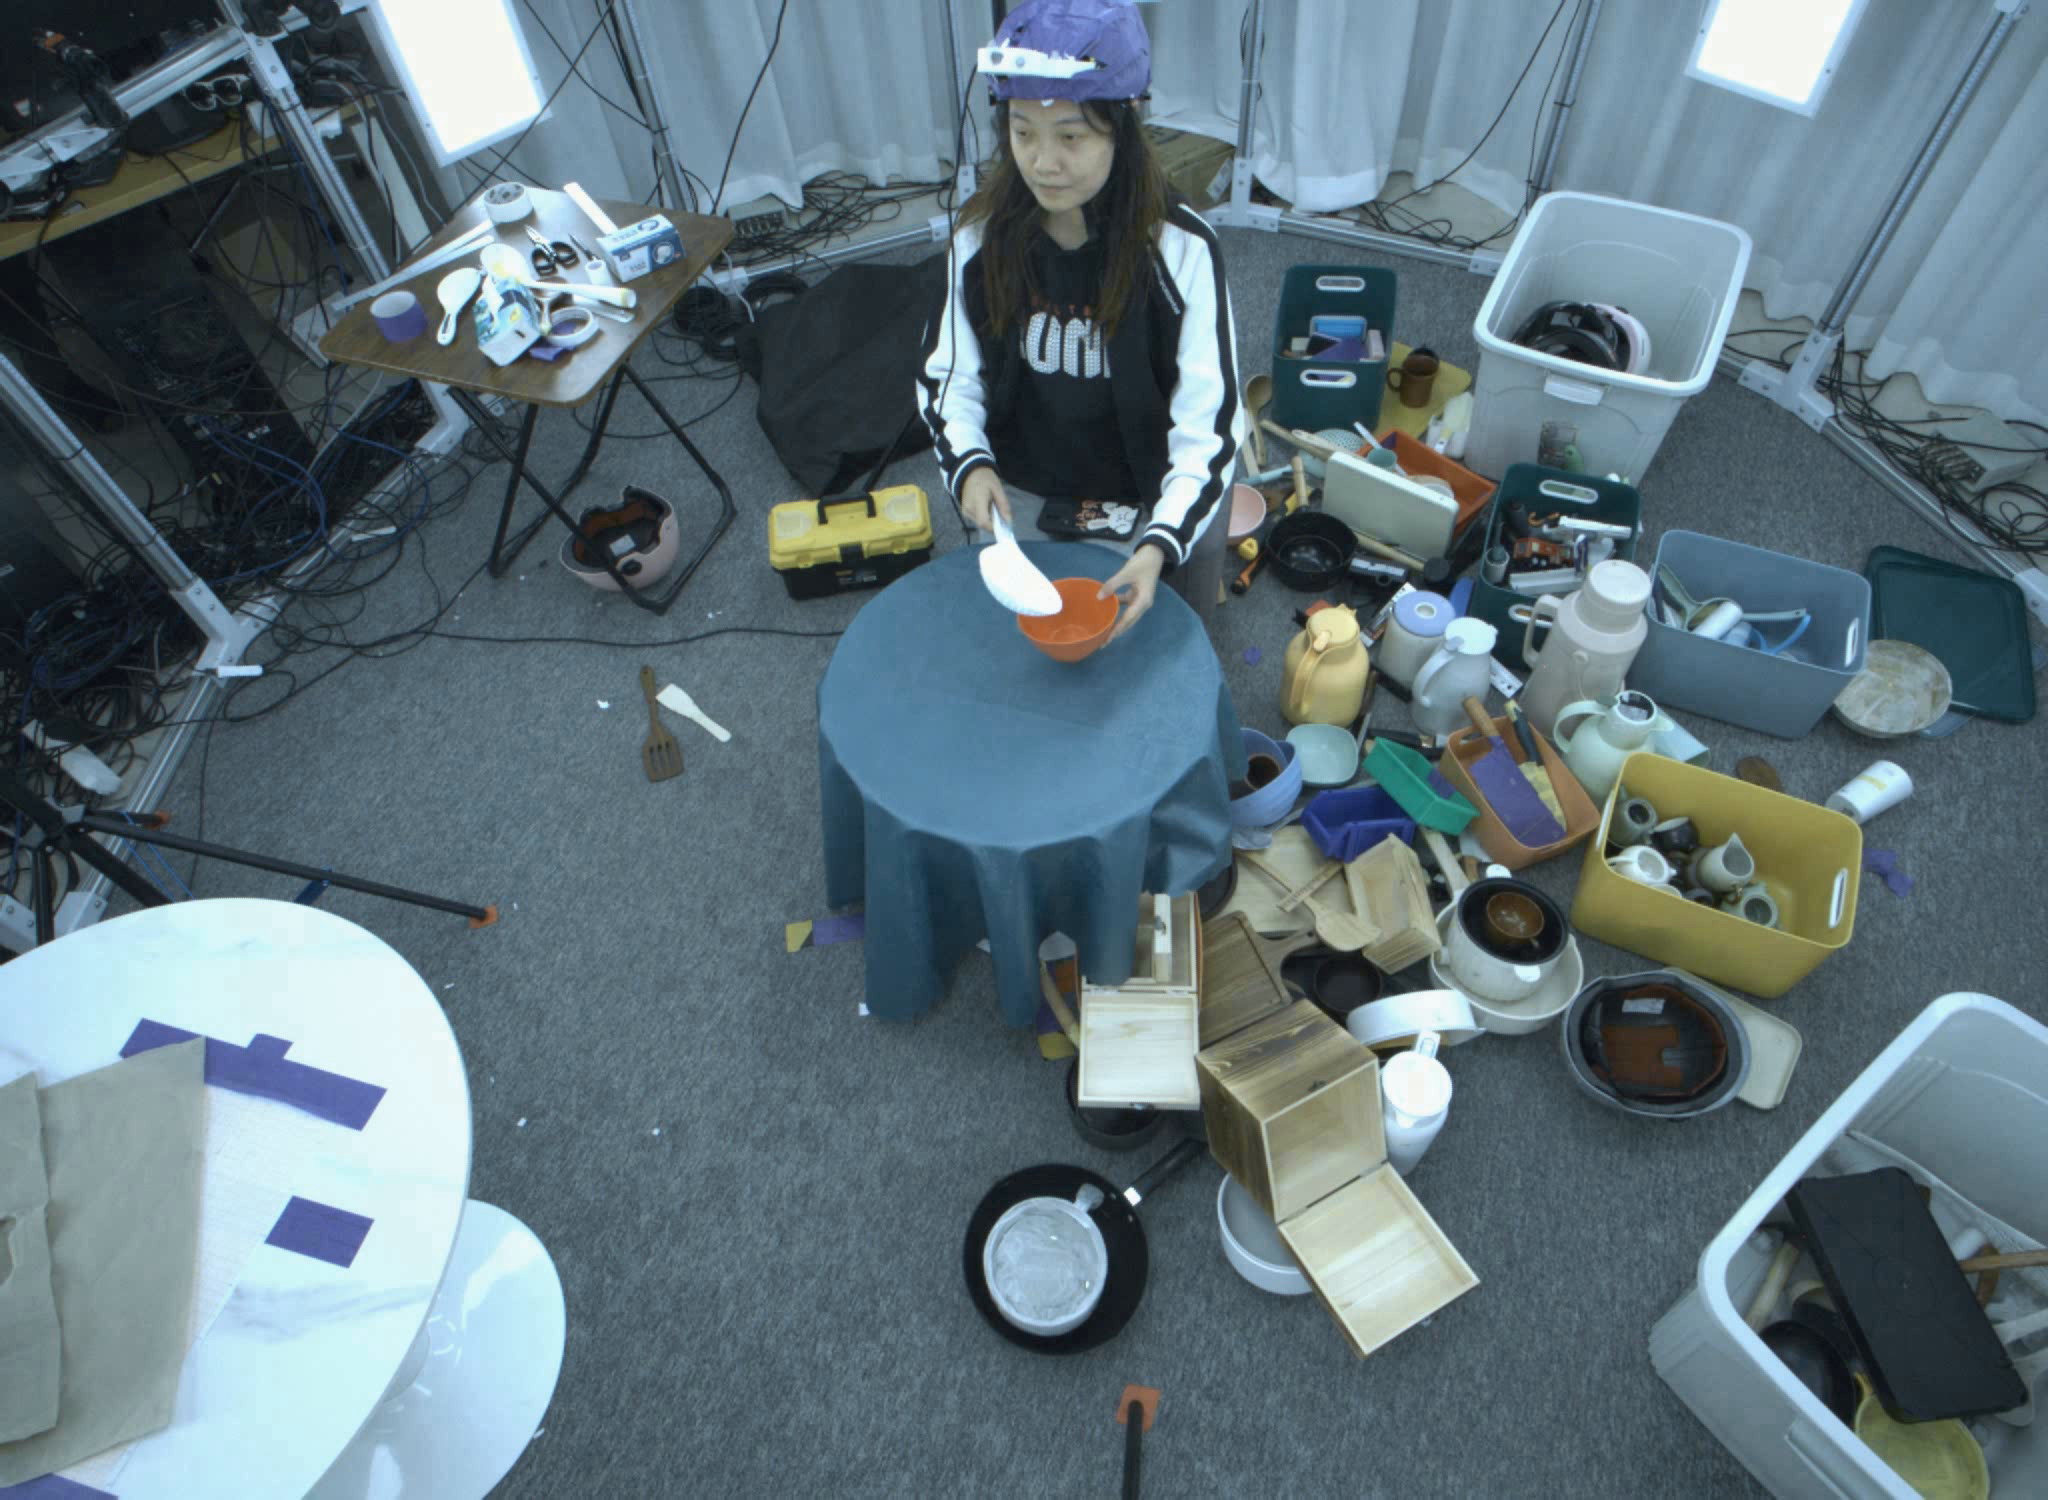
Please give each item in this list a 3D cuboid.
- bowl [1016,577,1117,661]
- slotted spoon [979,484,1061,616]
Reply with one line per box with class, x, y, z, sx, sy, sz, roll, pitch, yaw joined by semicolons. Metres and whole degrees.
bowl;0.067;-0.179;1.809;0.147;0.106;0.146;-4;56;7
slotted spoon;-0.026;-0.301;1.795;0.139;0.045;0.344;24;37;-29
